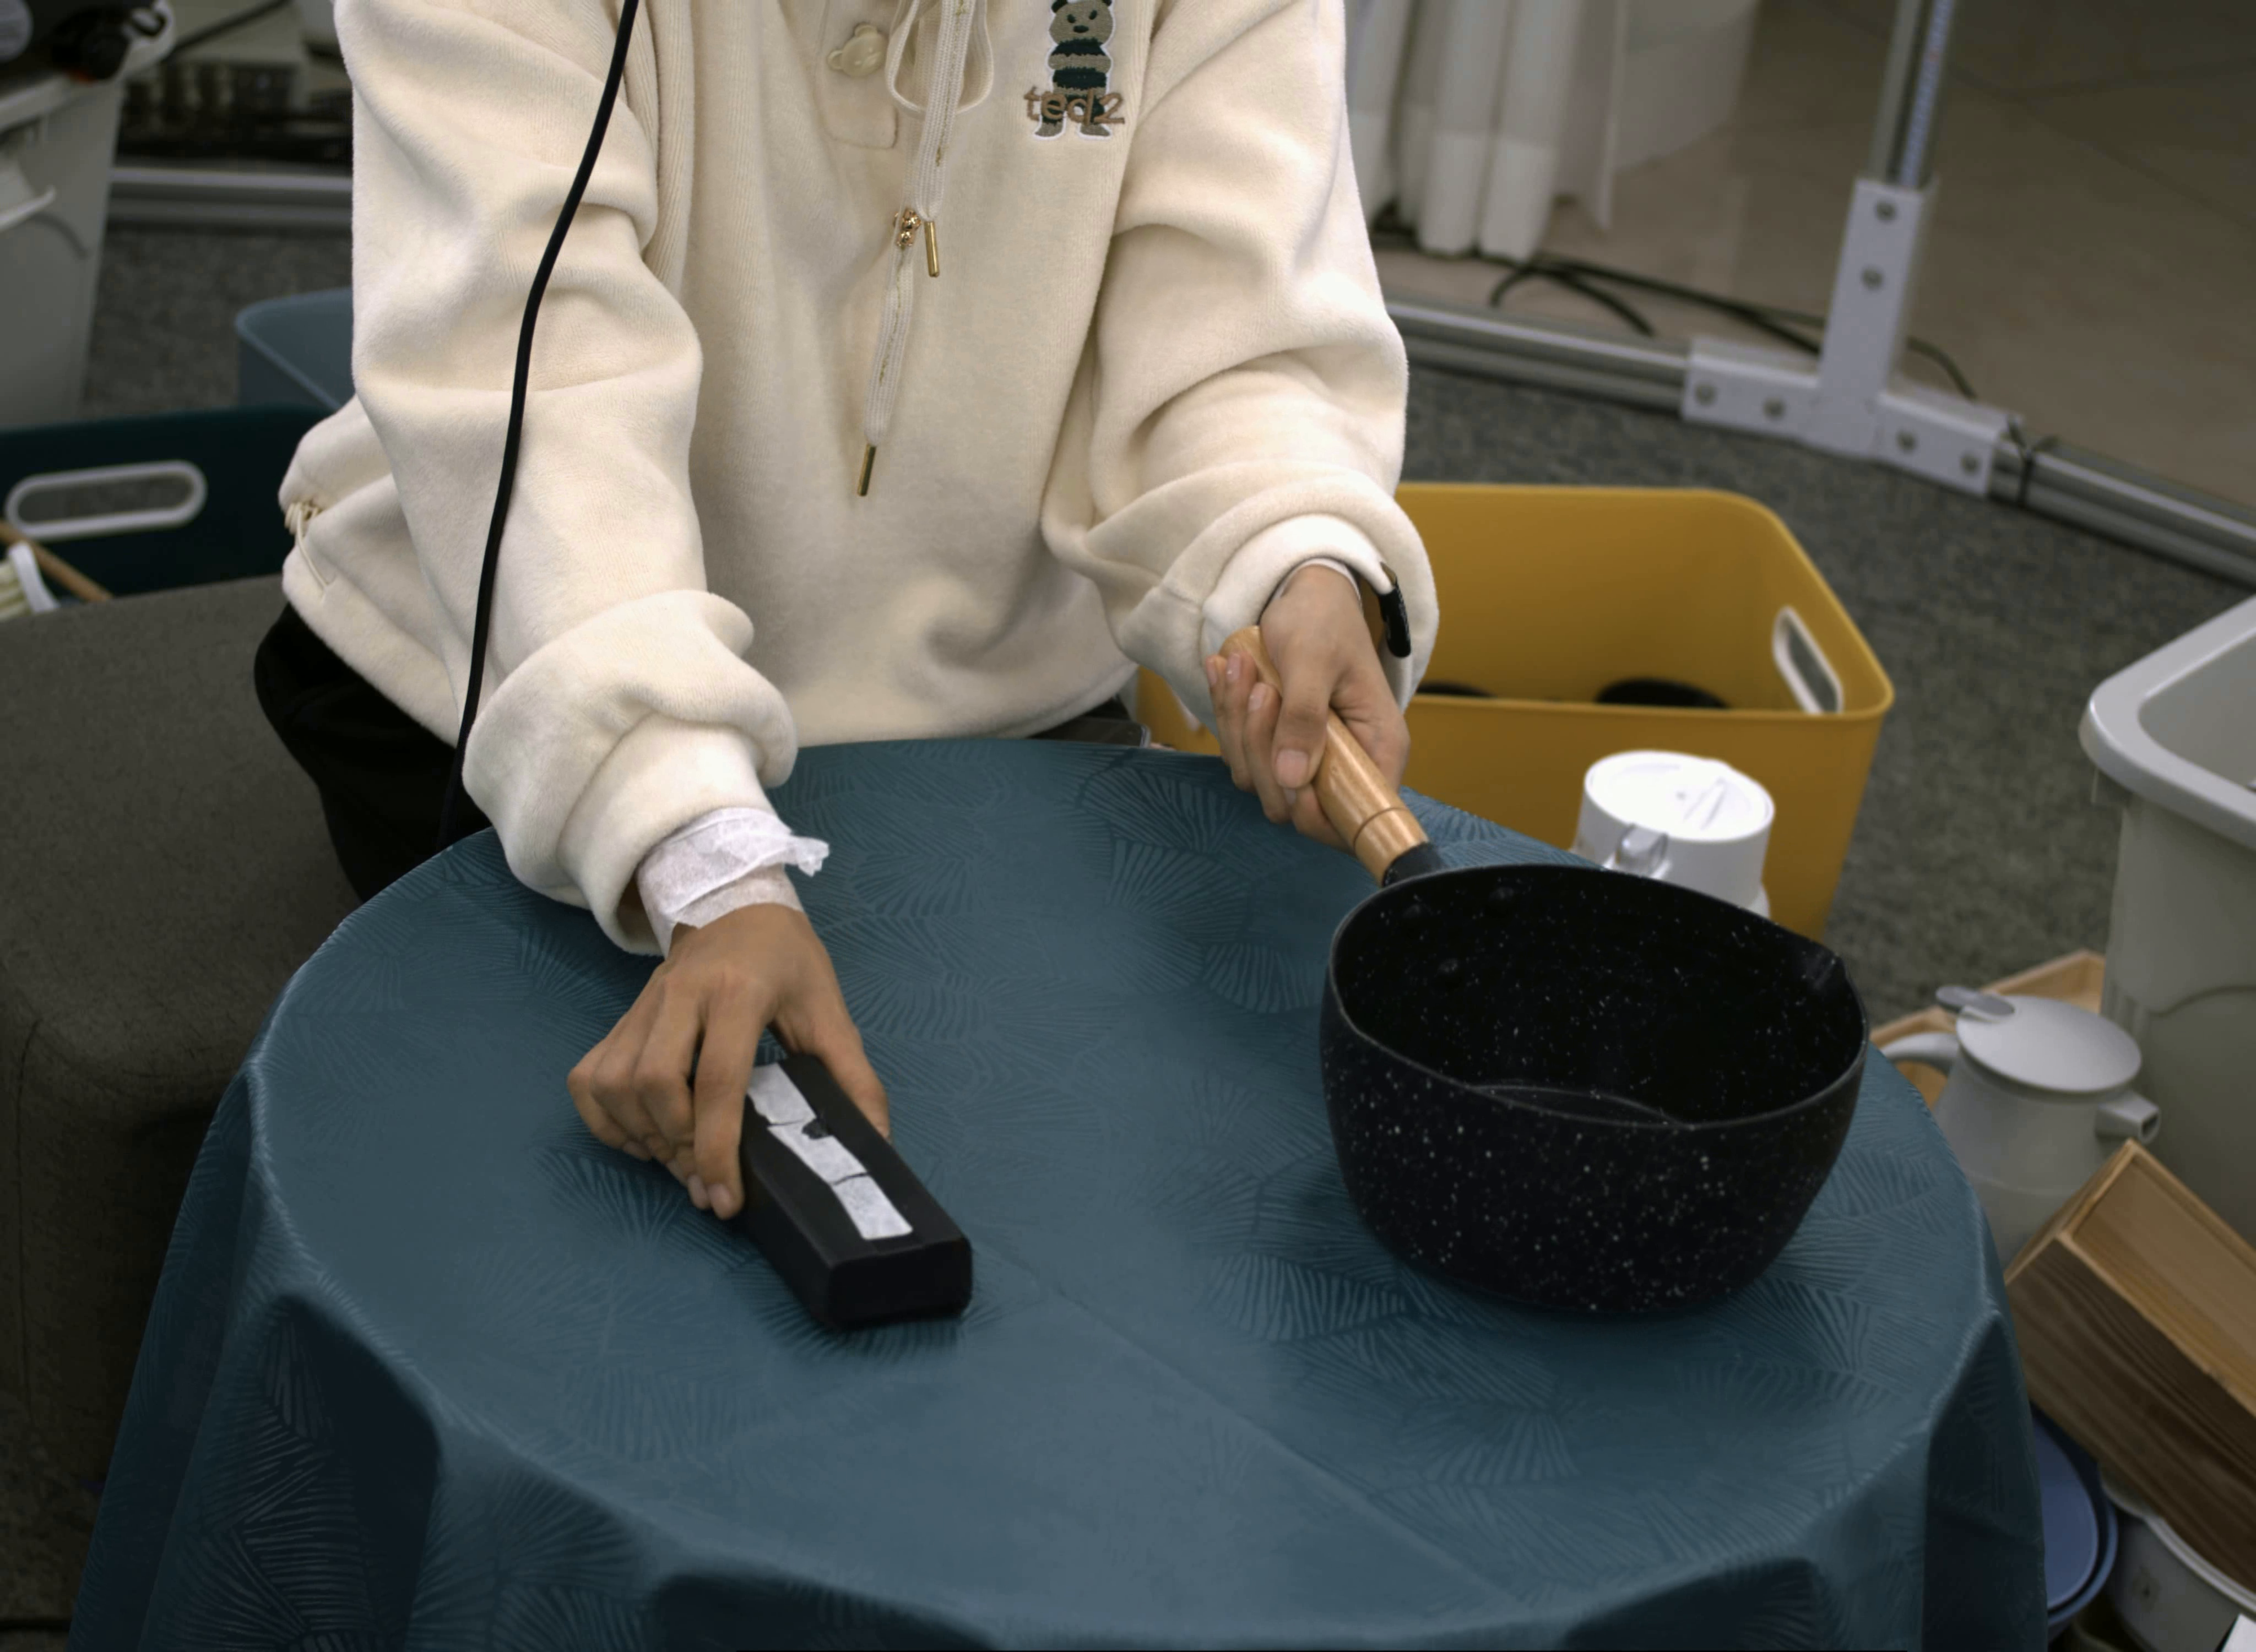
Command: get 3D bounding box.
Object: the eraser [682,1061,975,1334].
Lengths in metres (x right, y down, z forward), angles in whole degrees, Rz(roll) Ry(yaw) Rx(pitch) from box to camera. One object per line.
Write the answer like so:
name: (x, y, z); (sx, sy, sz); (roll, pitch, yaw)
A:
eraser: (-0.100, 0.121, 1.751); (0.053, 0.030, 0.126); (-8, 31, -26)

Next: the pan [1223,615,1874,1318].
pan: (0.116, 0.046, 1.856); (0.206, 0.108, 0.346); (-9, 31, -29)
